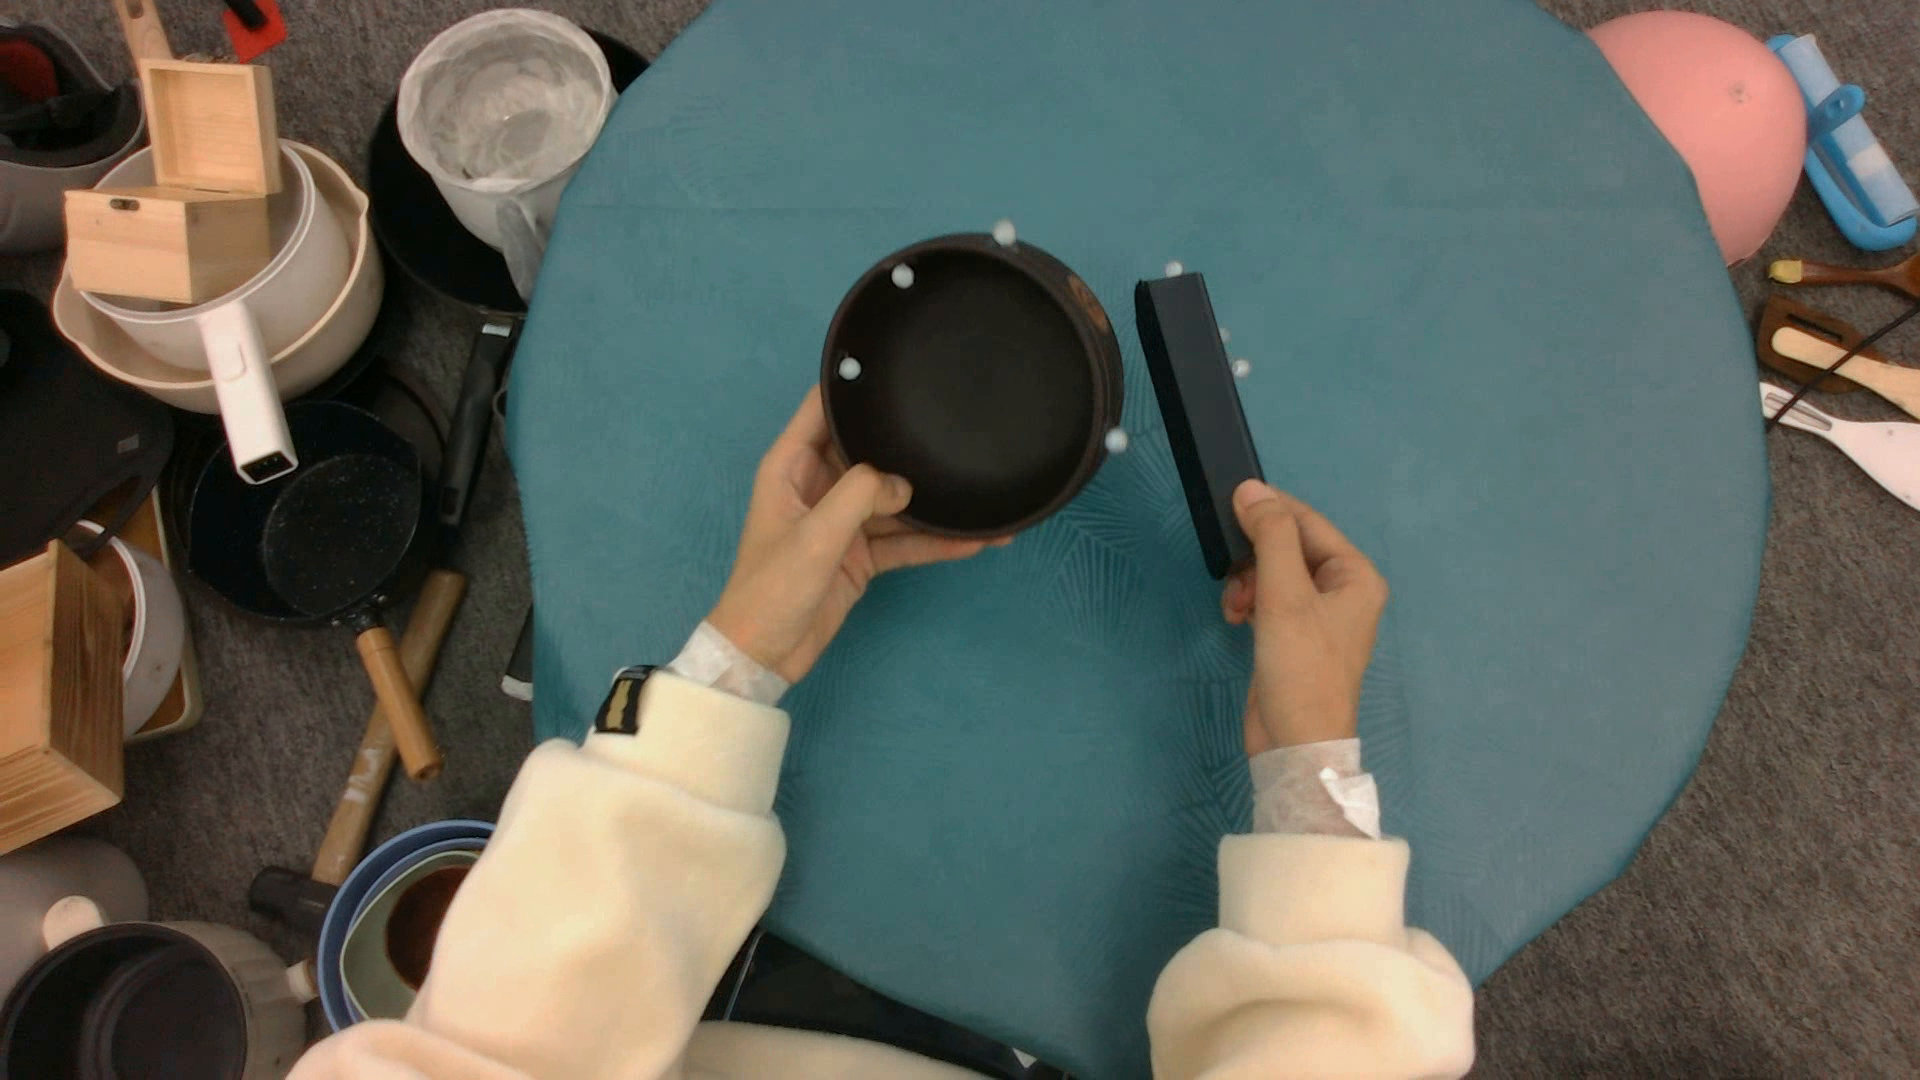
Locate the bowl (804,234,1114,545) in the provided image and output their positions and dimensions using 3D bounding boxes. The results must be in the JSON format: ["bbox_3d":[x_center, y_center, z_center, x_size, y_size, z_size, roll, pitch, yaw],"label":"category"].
[{"bbox_3d":[0.005,-0.063,0.544,0.118,0.070,0.117,7,110,20],"label":"bowl"}]

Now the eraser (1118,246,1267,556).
[{"bbox_3d":[0.096,-0.057,0.576,0.030,0.053,0.125,-15,82,2],"label":"eraser"}]
